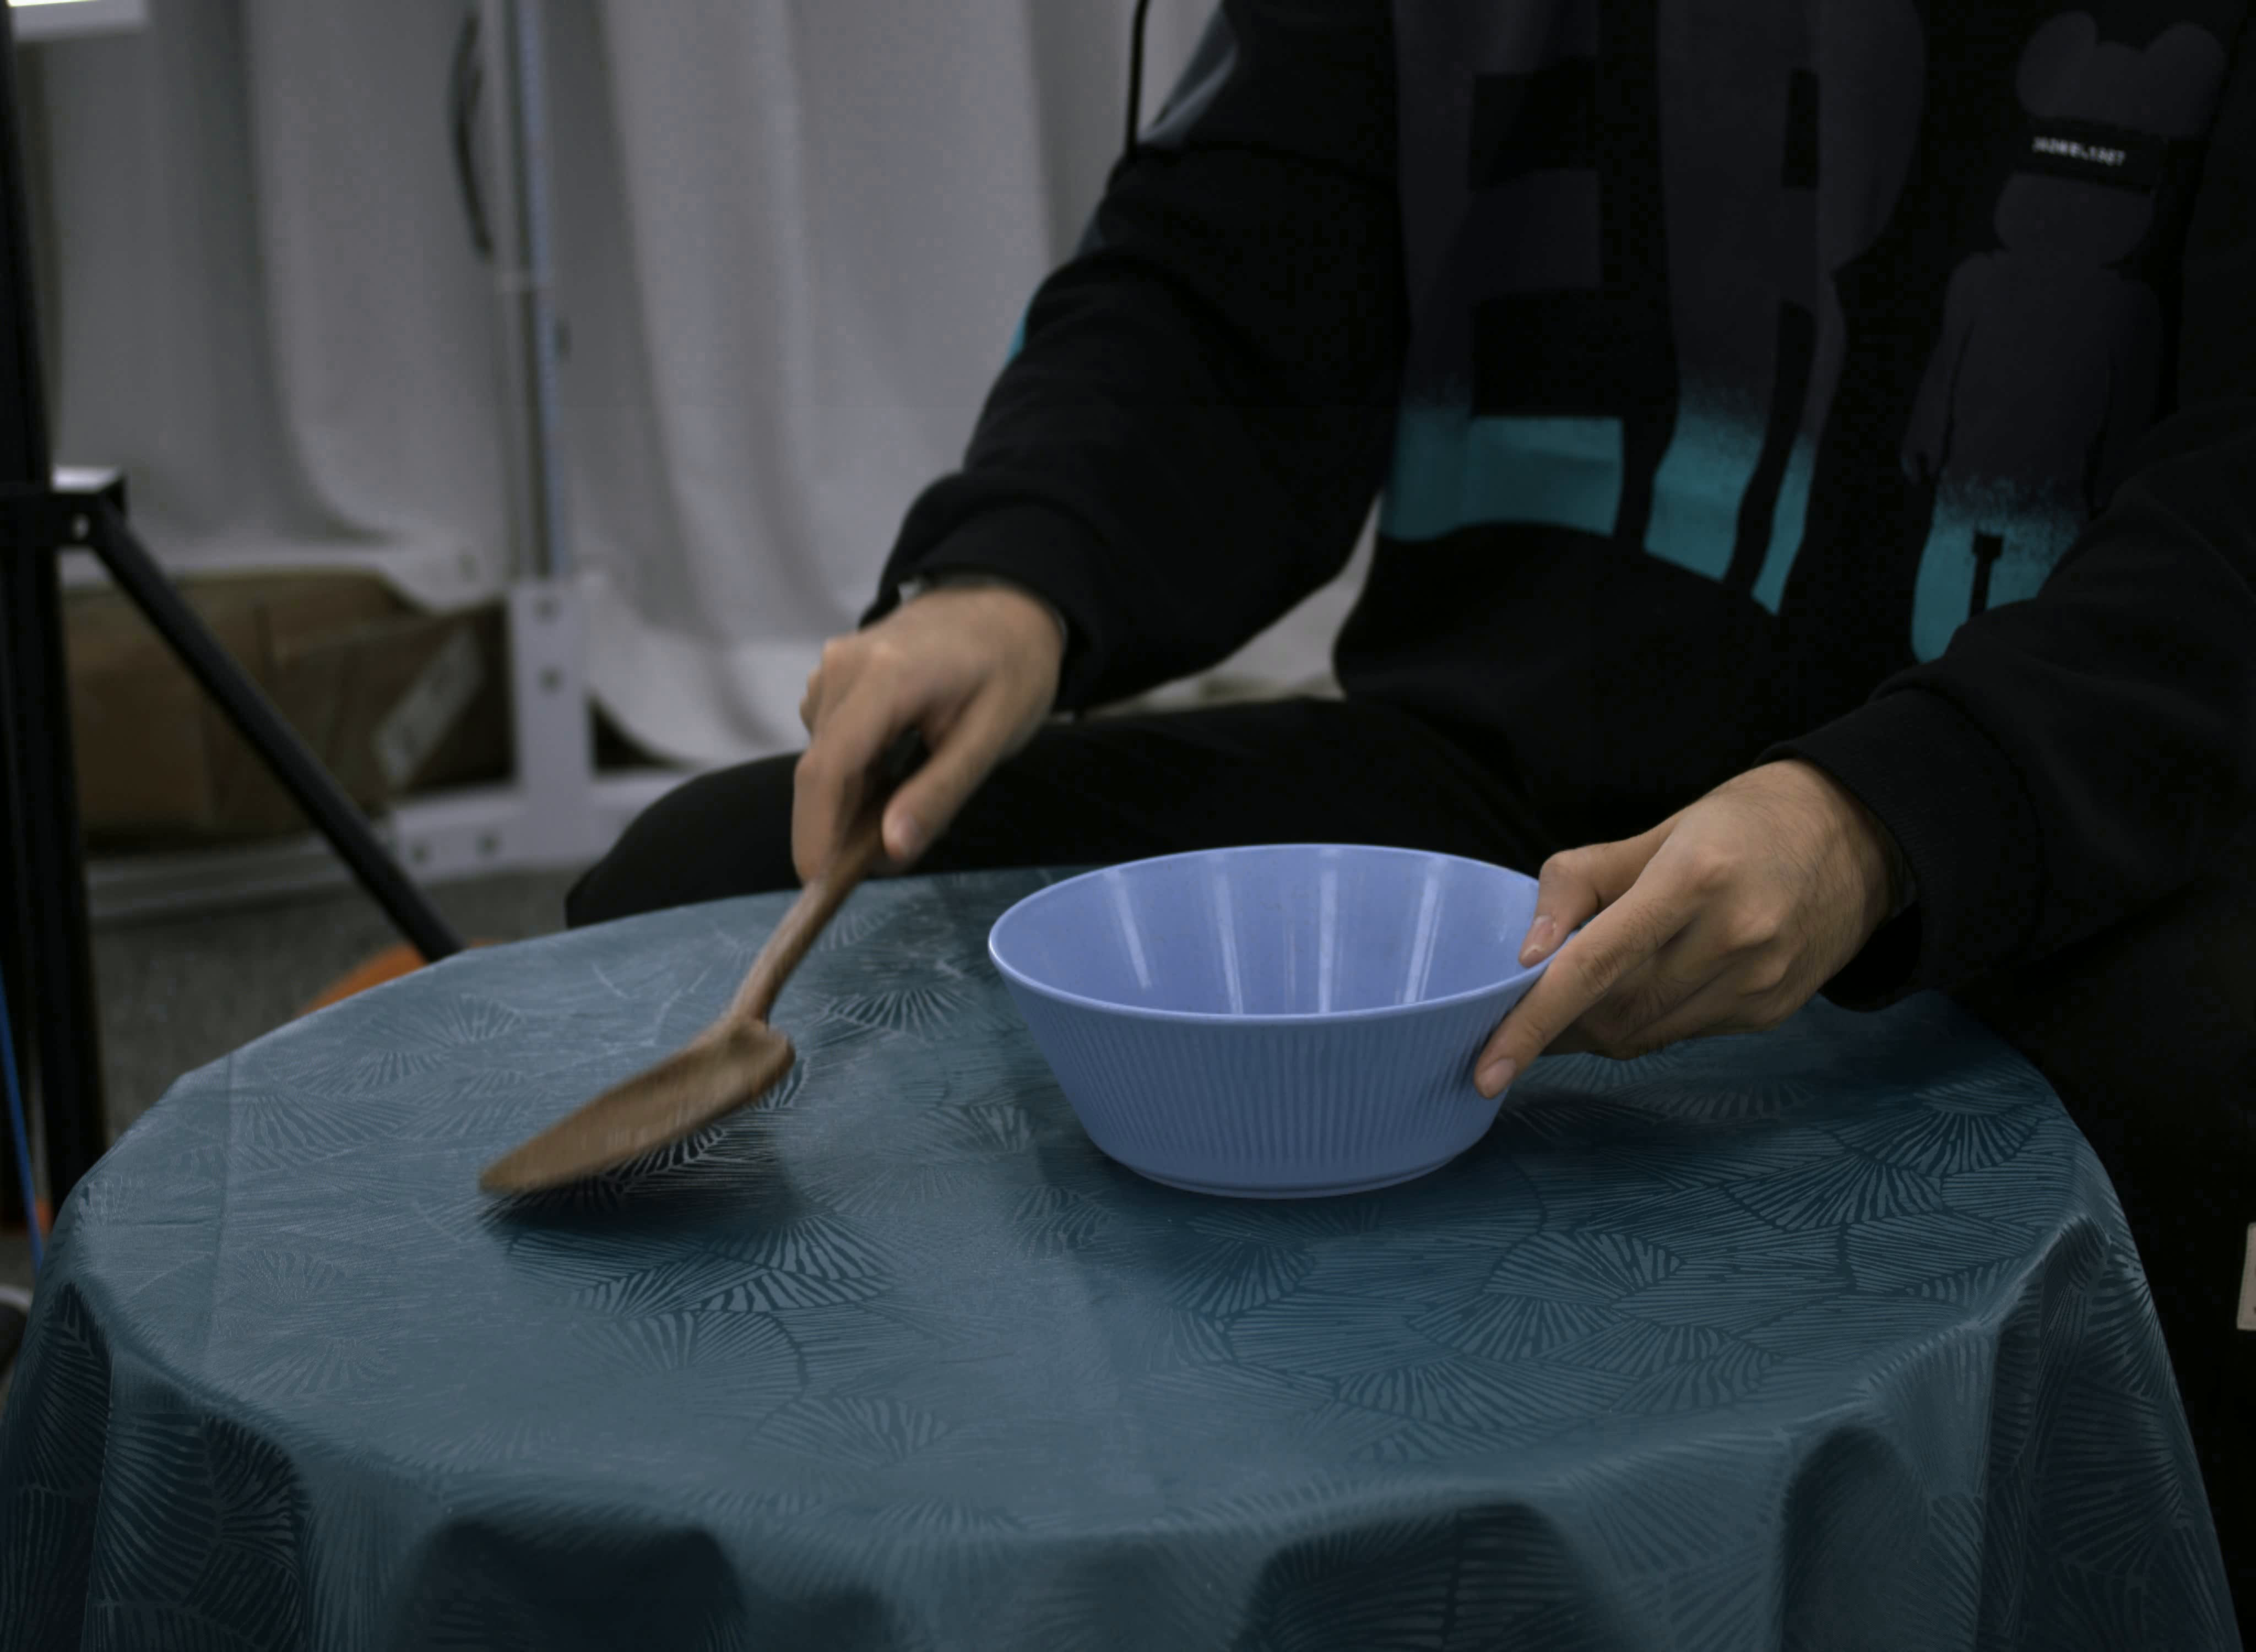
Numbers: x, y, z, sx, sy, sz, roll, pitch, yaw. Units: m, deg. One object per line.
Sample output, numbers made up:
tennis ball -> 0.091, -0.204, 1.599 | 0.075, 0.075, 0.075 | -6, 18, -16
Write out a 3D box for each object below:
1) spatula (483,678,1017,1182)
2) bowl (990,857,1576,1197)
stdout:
spatula -> -0.101, 0.024, 1.704 | 0.097, 0.015, 0.383 | -20, 16, 24
bowl -> 0.047, 0.062, 1.586 | 0.175, 0.070, 0.177 | -2, 14, -1
